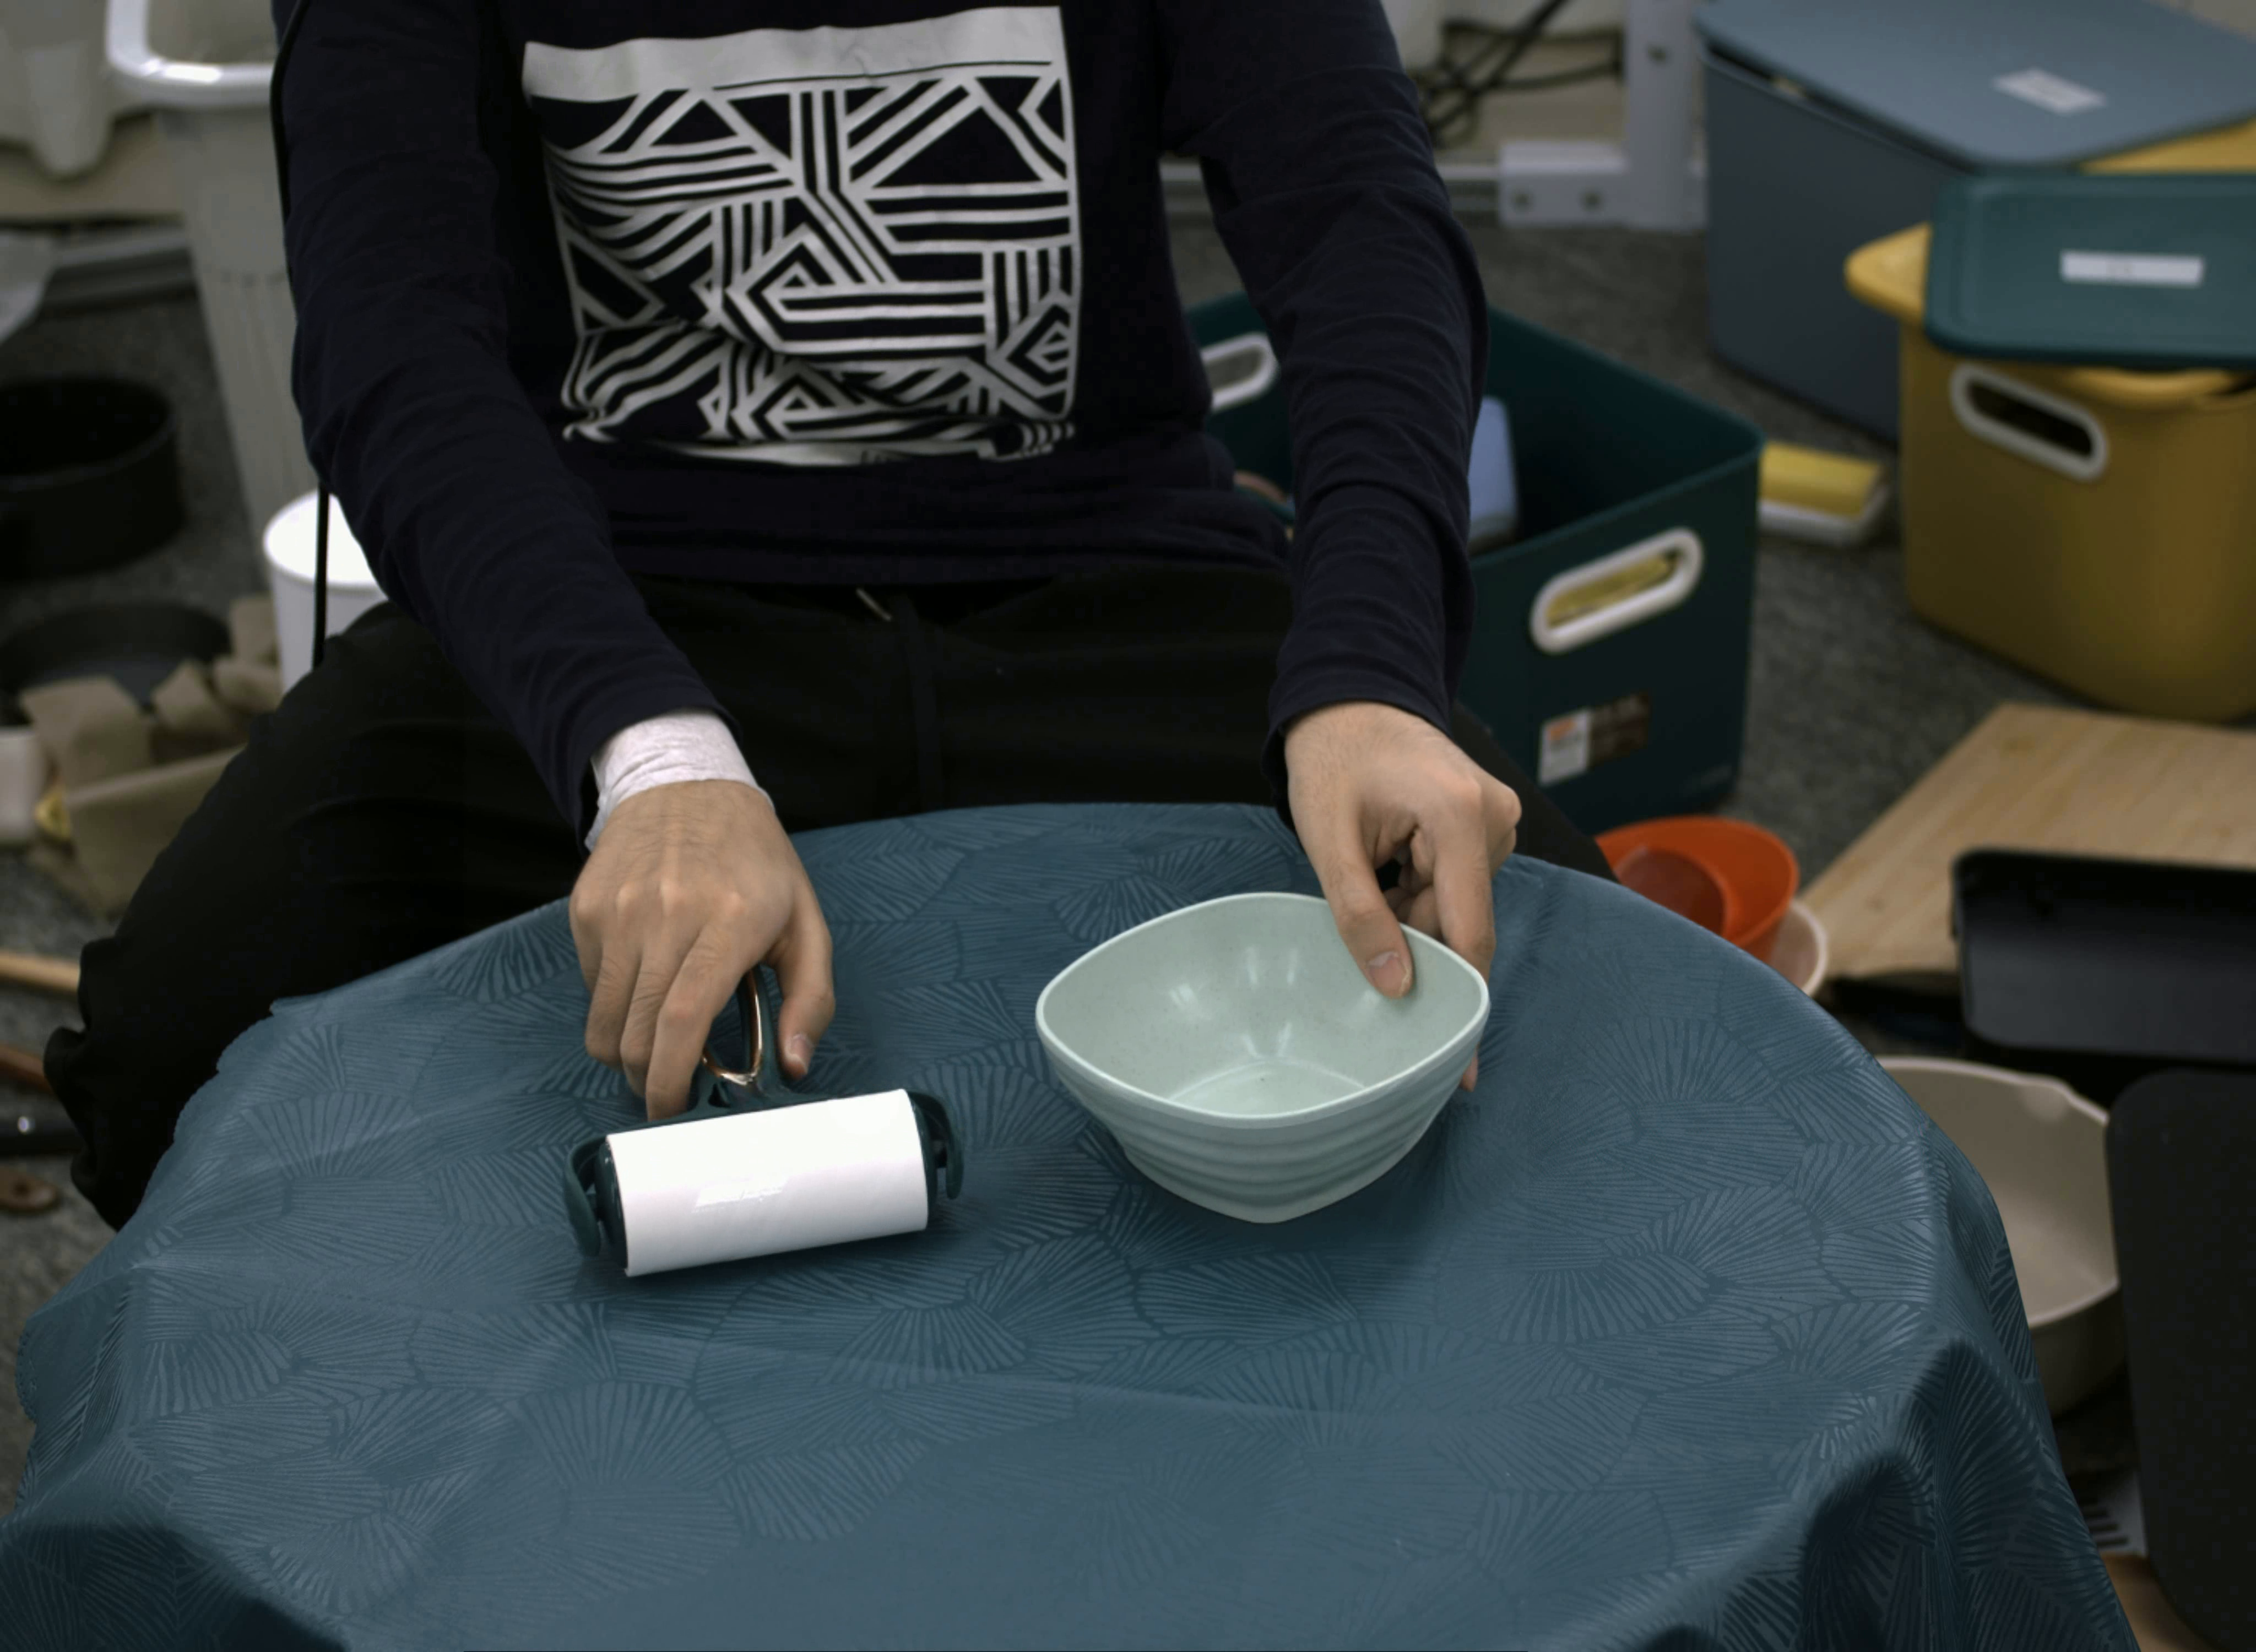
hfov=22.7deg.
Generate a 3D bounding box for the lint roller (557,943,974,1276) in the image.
[{"bbox_3d":[-0.134,0.078,1.884,0.134,0.047,0.183,-8,37,-11],"label":"lint roller"}]

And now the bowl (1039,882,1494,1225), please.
[{"bbox_3d":[0.047,0.082,1.872,0.151,0.058,0.154,-1,30,1],"label":"bowl"}]
